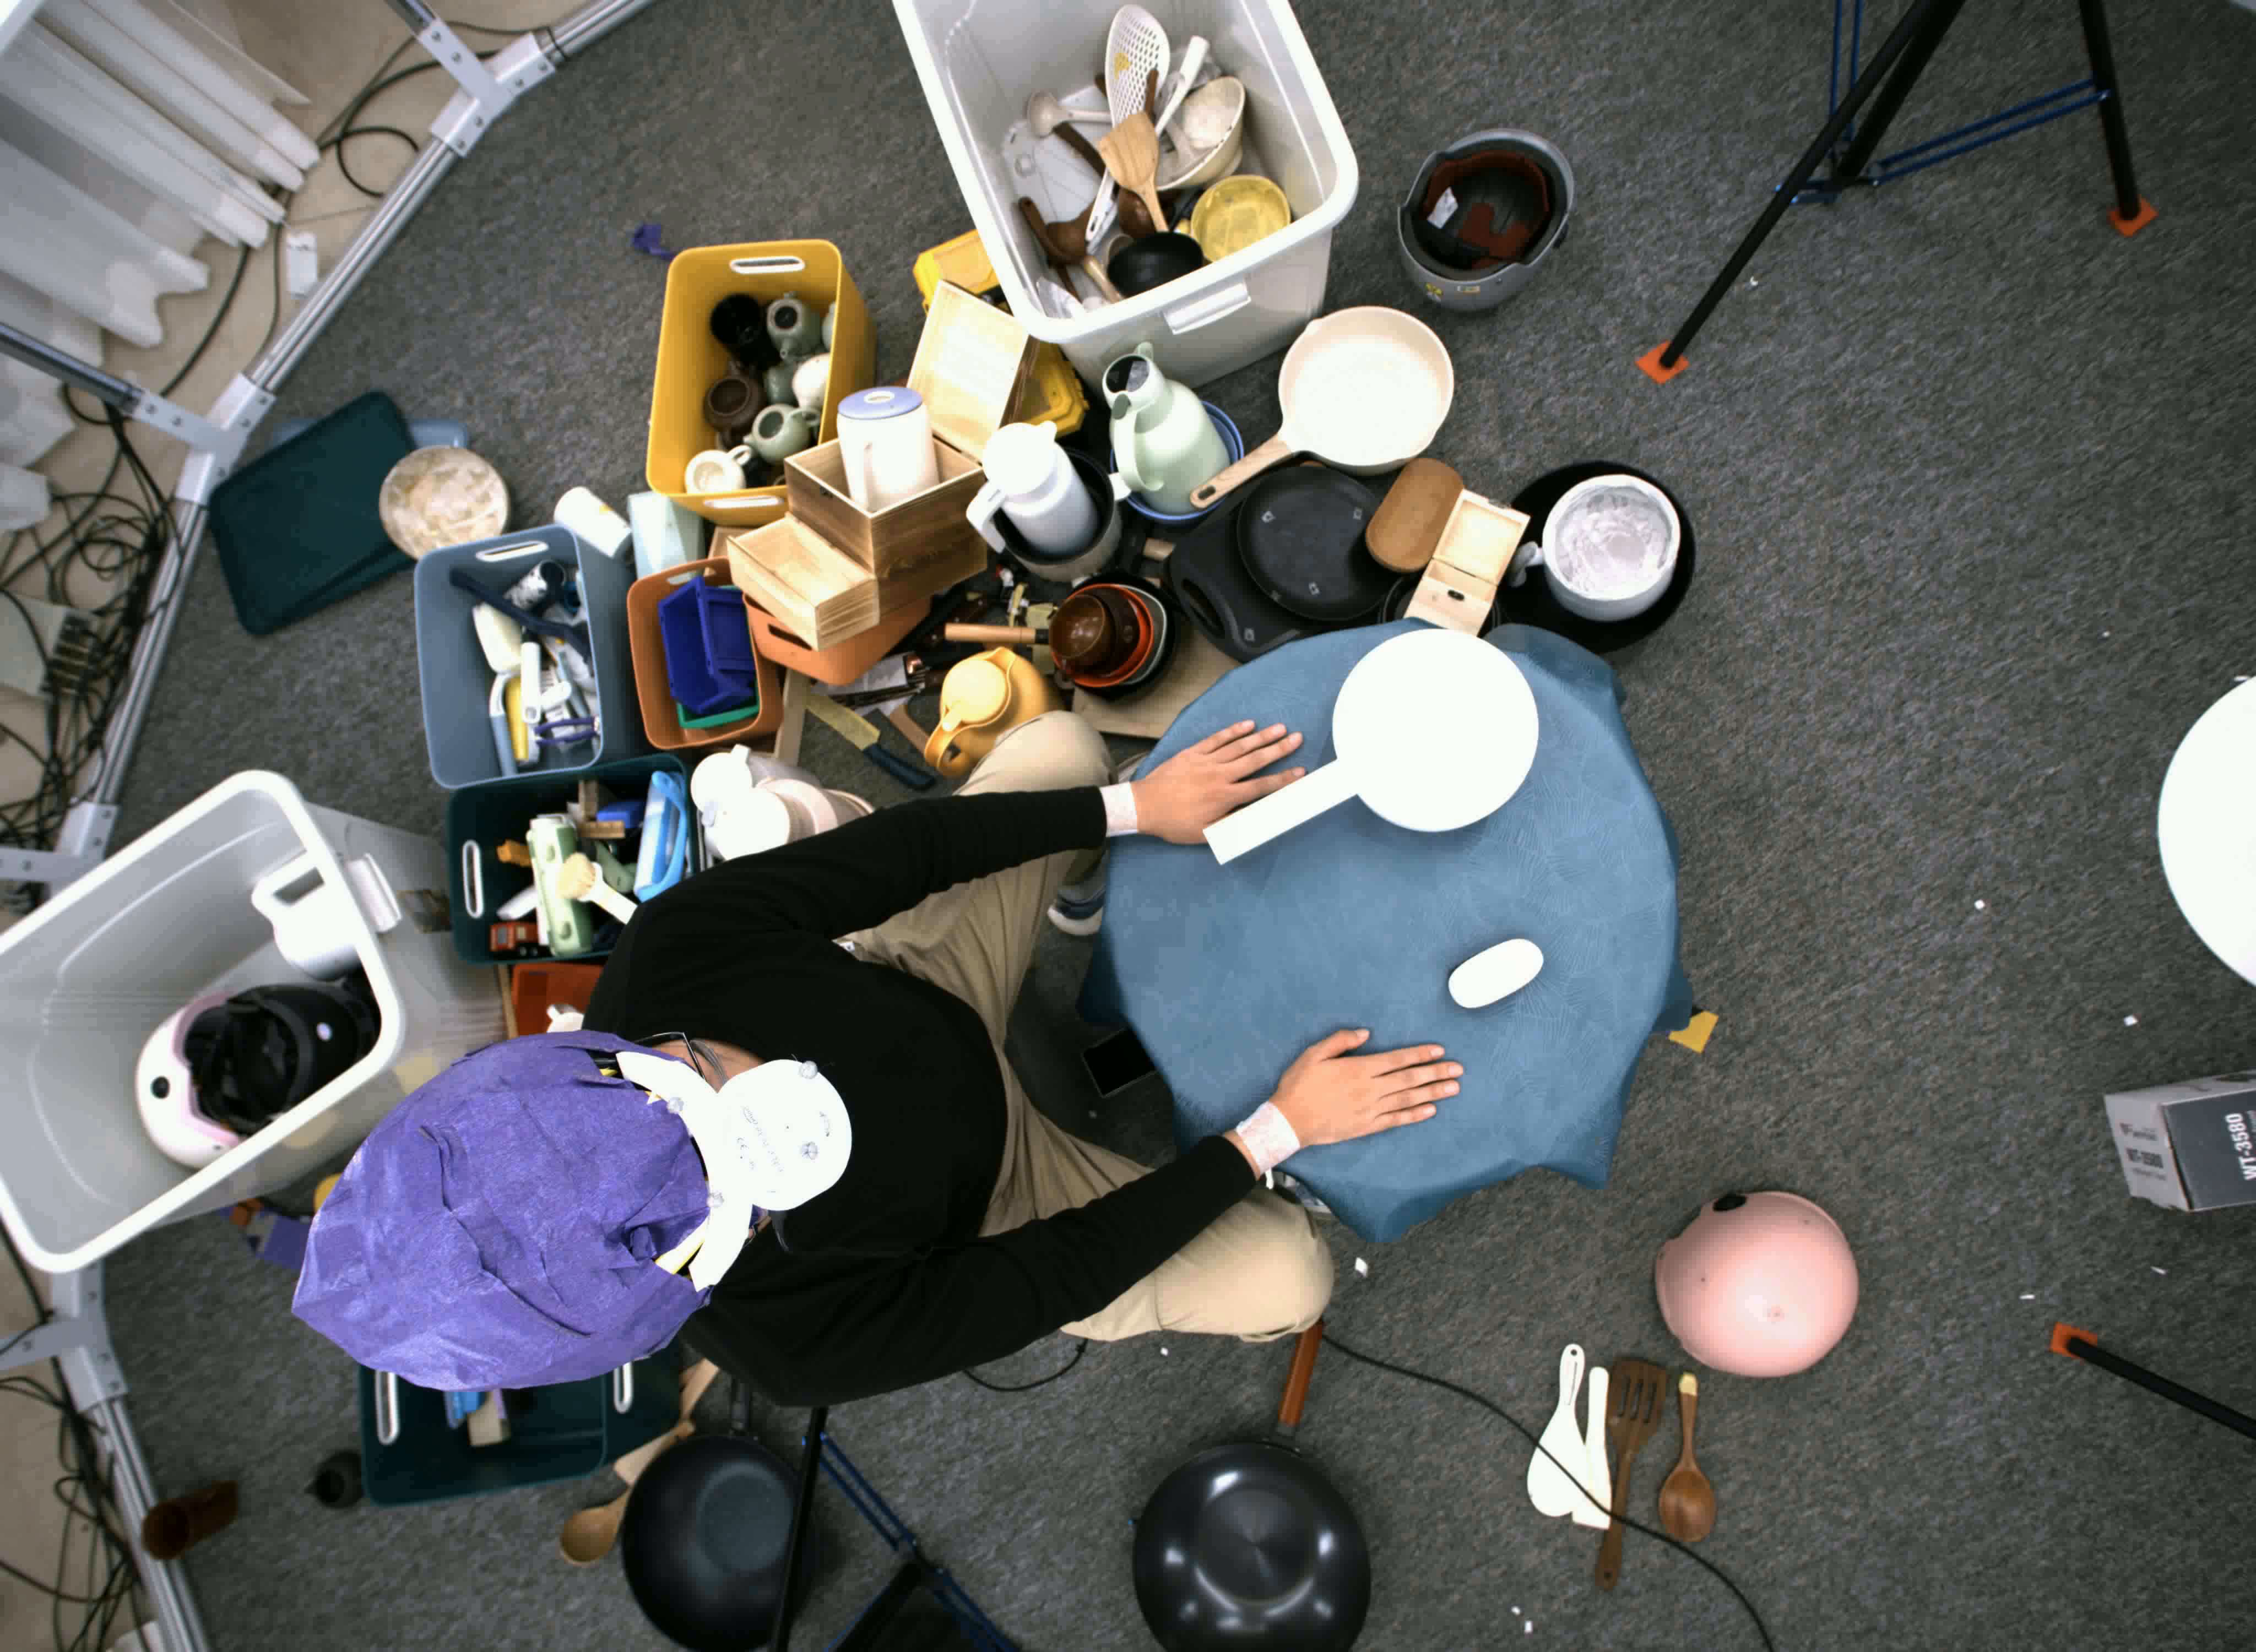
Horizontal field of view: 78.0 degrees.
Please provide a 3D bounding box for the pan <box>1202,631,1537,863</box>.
[{"bbox_3d":[0.245,-0.058,1.425,0.357,0.102,0.200,-28,84,8],"label":"pan"}]

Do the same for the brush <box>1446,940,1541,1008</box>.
[{"bbox_3d":[0.372,0.149,1.400,0.100,0.072,0.050,-27,81,7],"label":"brush"}]
